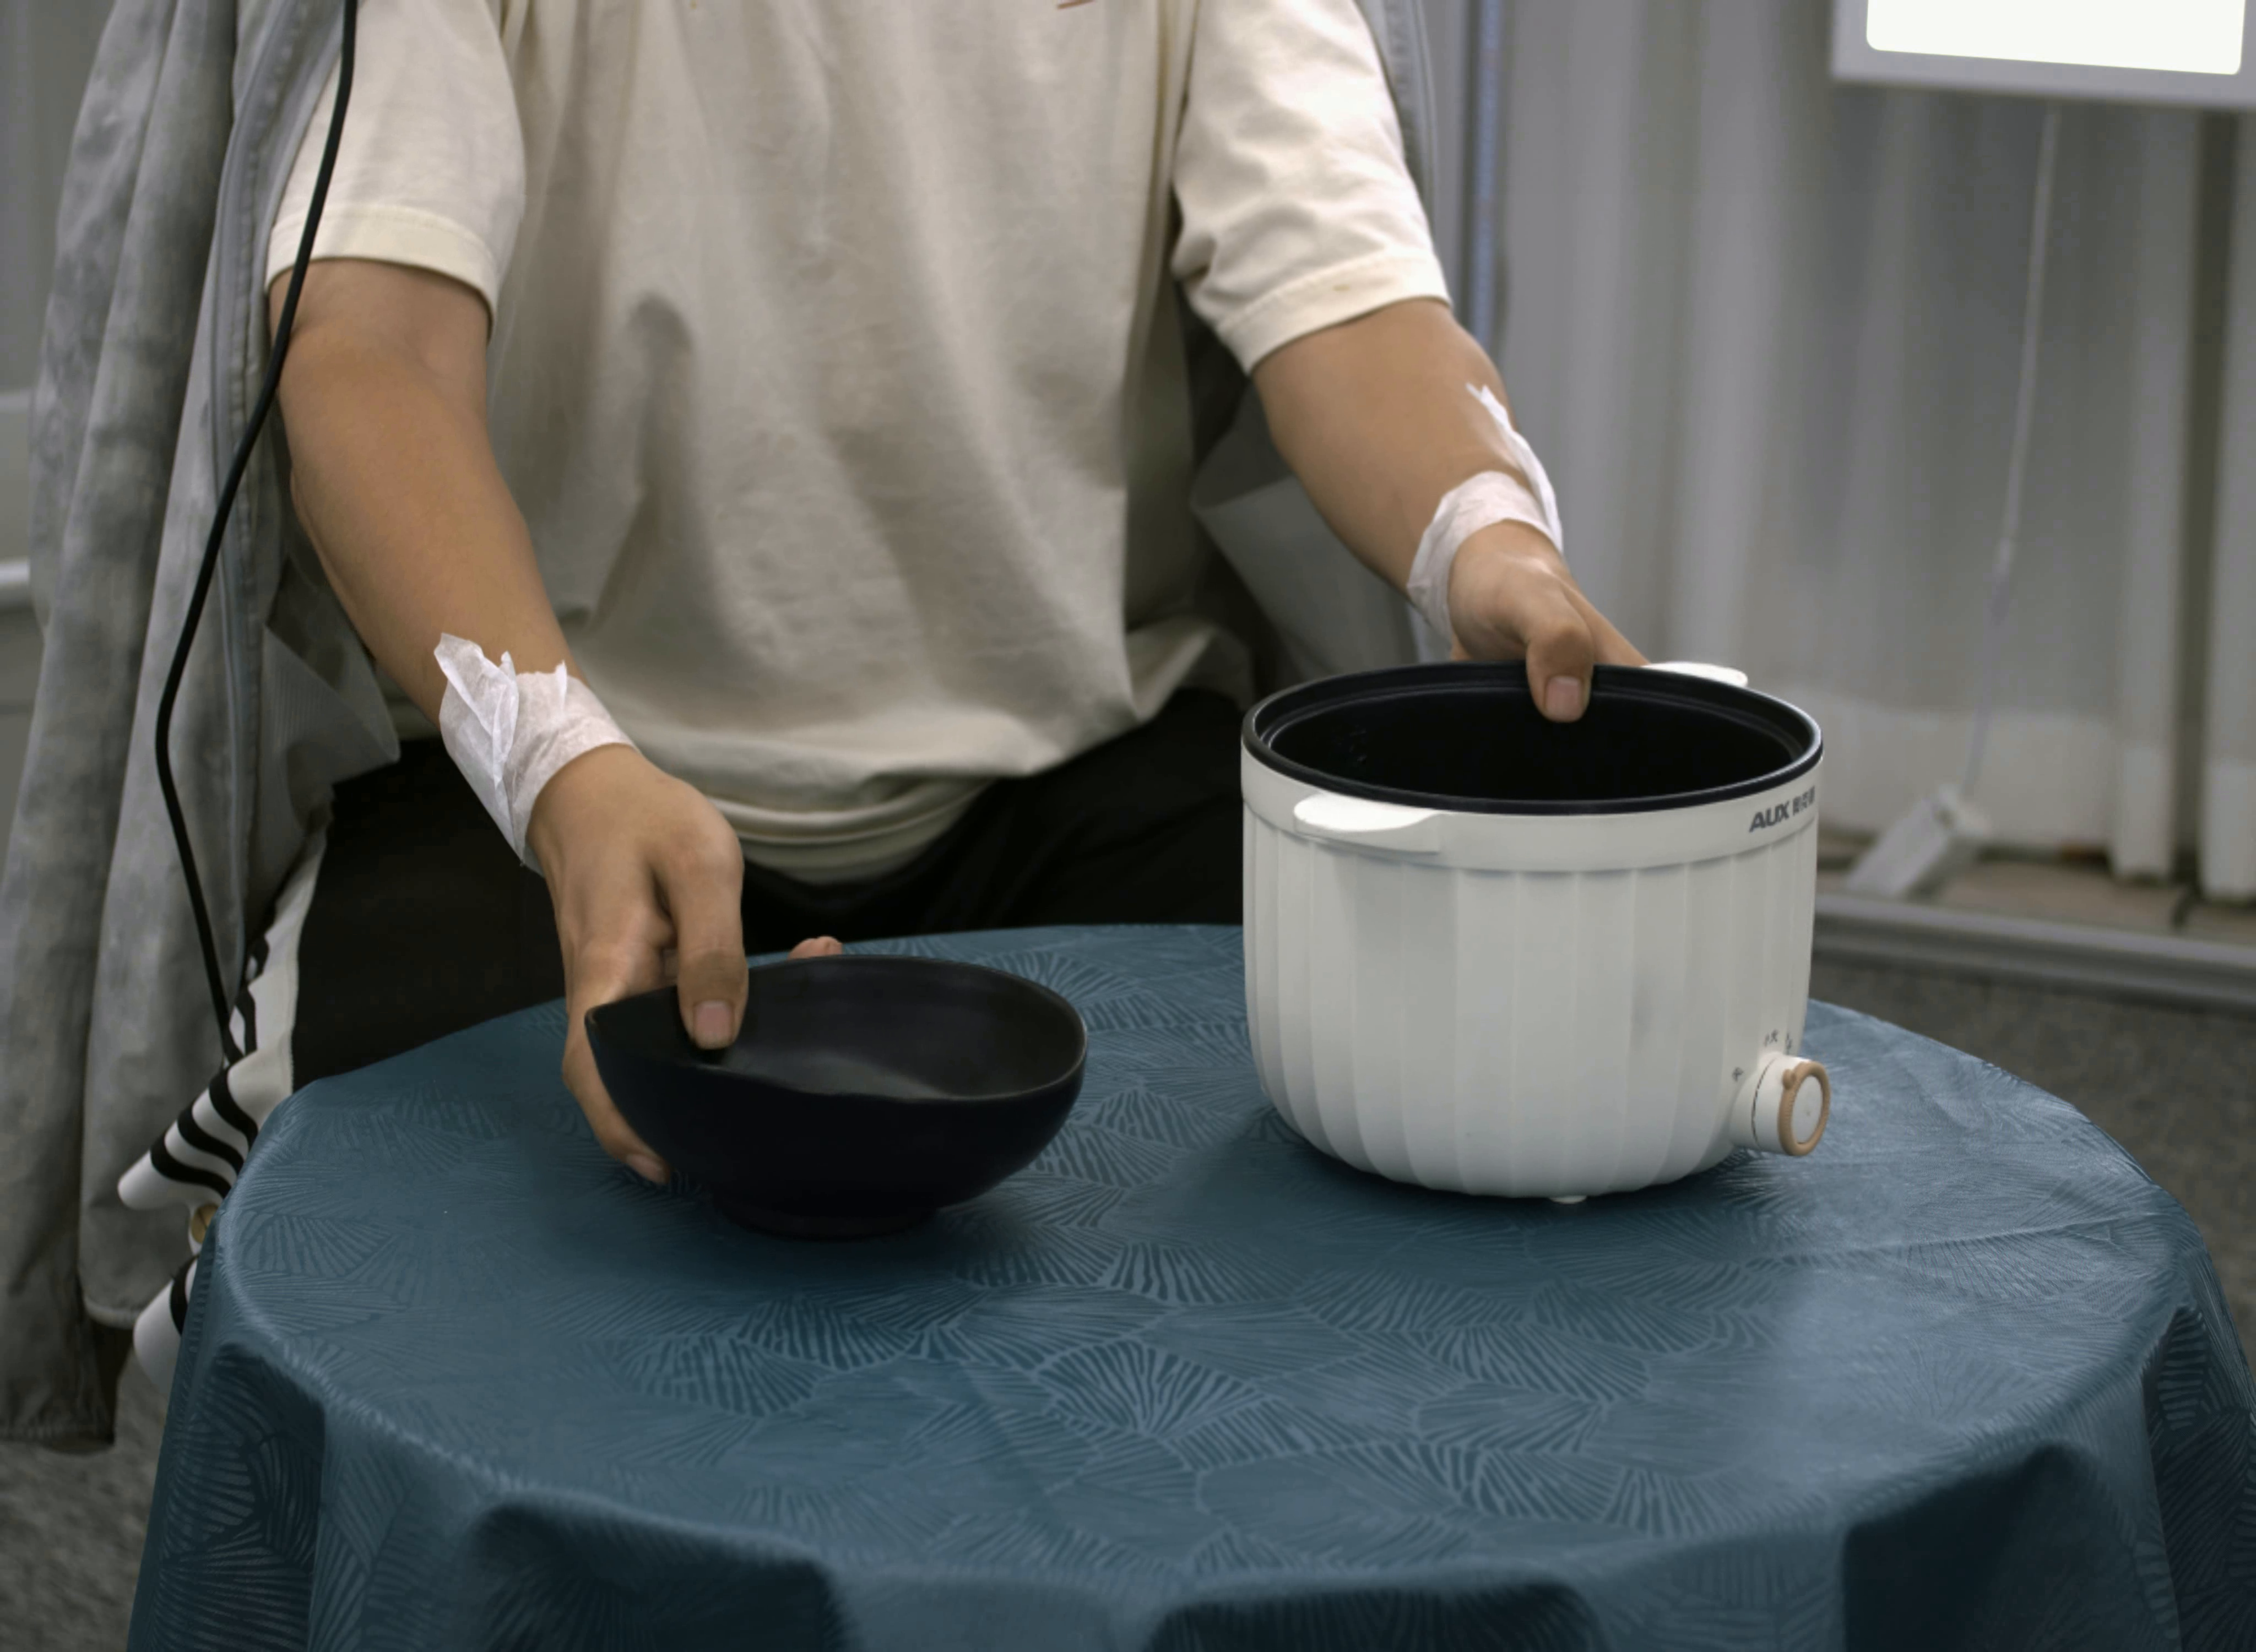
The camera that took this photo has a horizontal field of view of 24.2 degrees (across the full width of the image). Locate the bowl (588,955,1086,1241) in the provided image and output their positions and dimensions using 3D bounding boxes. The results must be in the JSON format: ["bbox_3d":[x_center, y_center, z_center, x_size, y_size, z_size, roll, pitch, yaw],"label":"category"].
[{"bbox_3d":[-0.091,0.086,1.596,0.168,0.067,0.138,13,18,39],"label":"bowl"}]

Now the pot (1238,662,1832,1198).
[{"bbox_3d":[0.130,0.033,1.655,0.188,0.144,0.241,7,17,33],"label":"pot"}]
